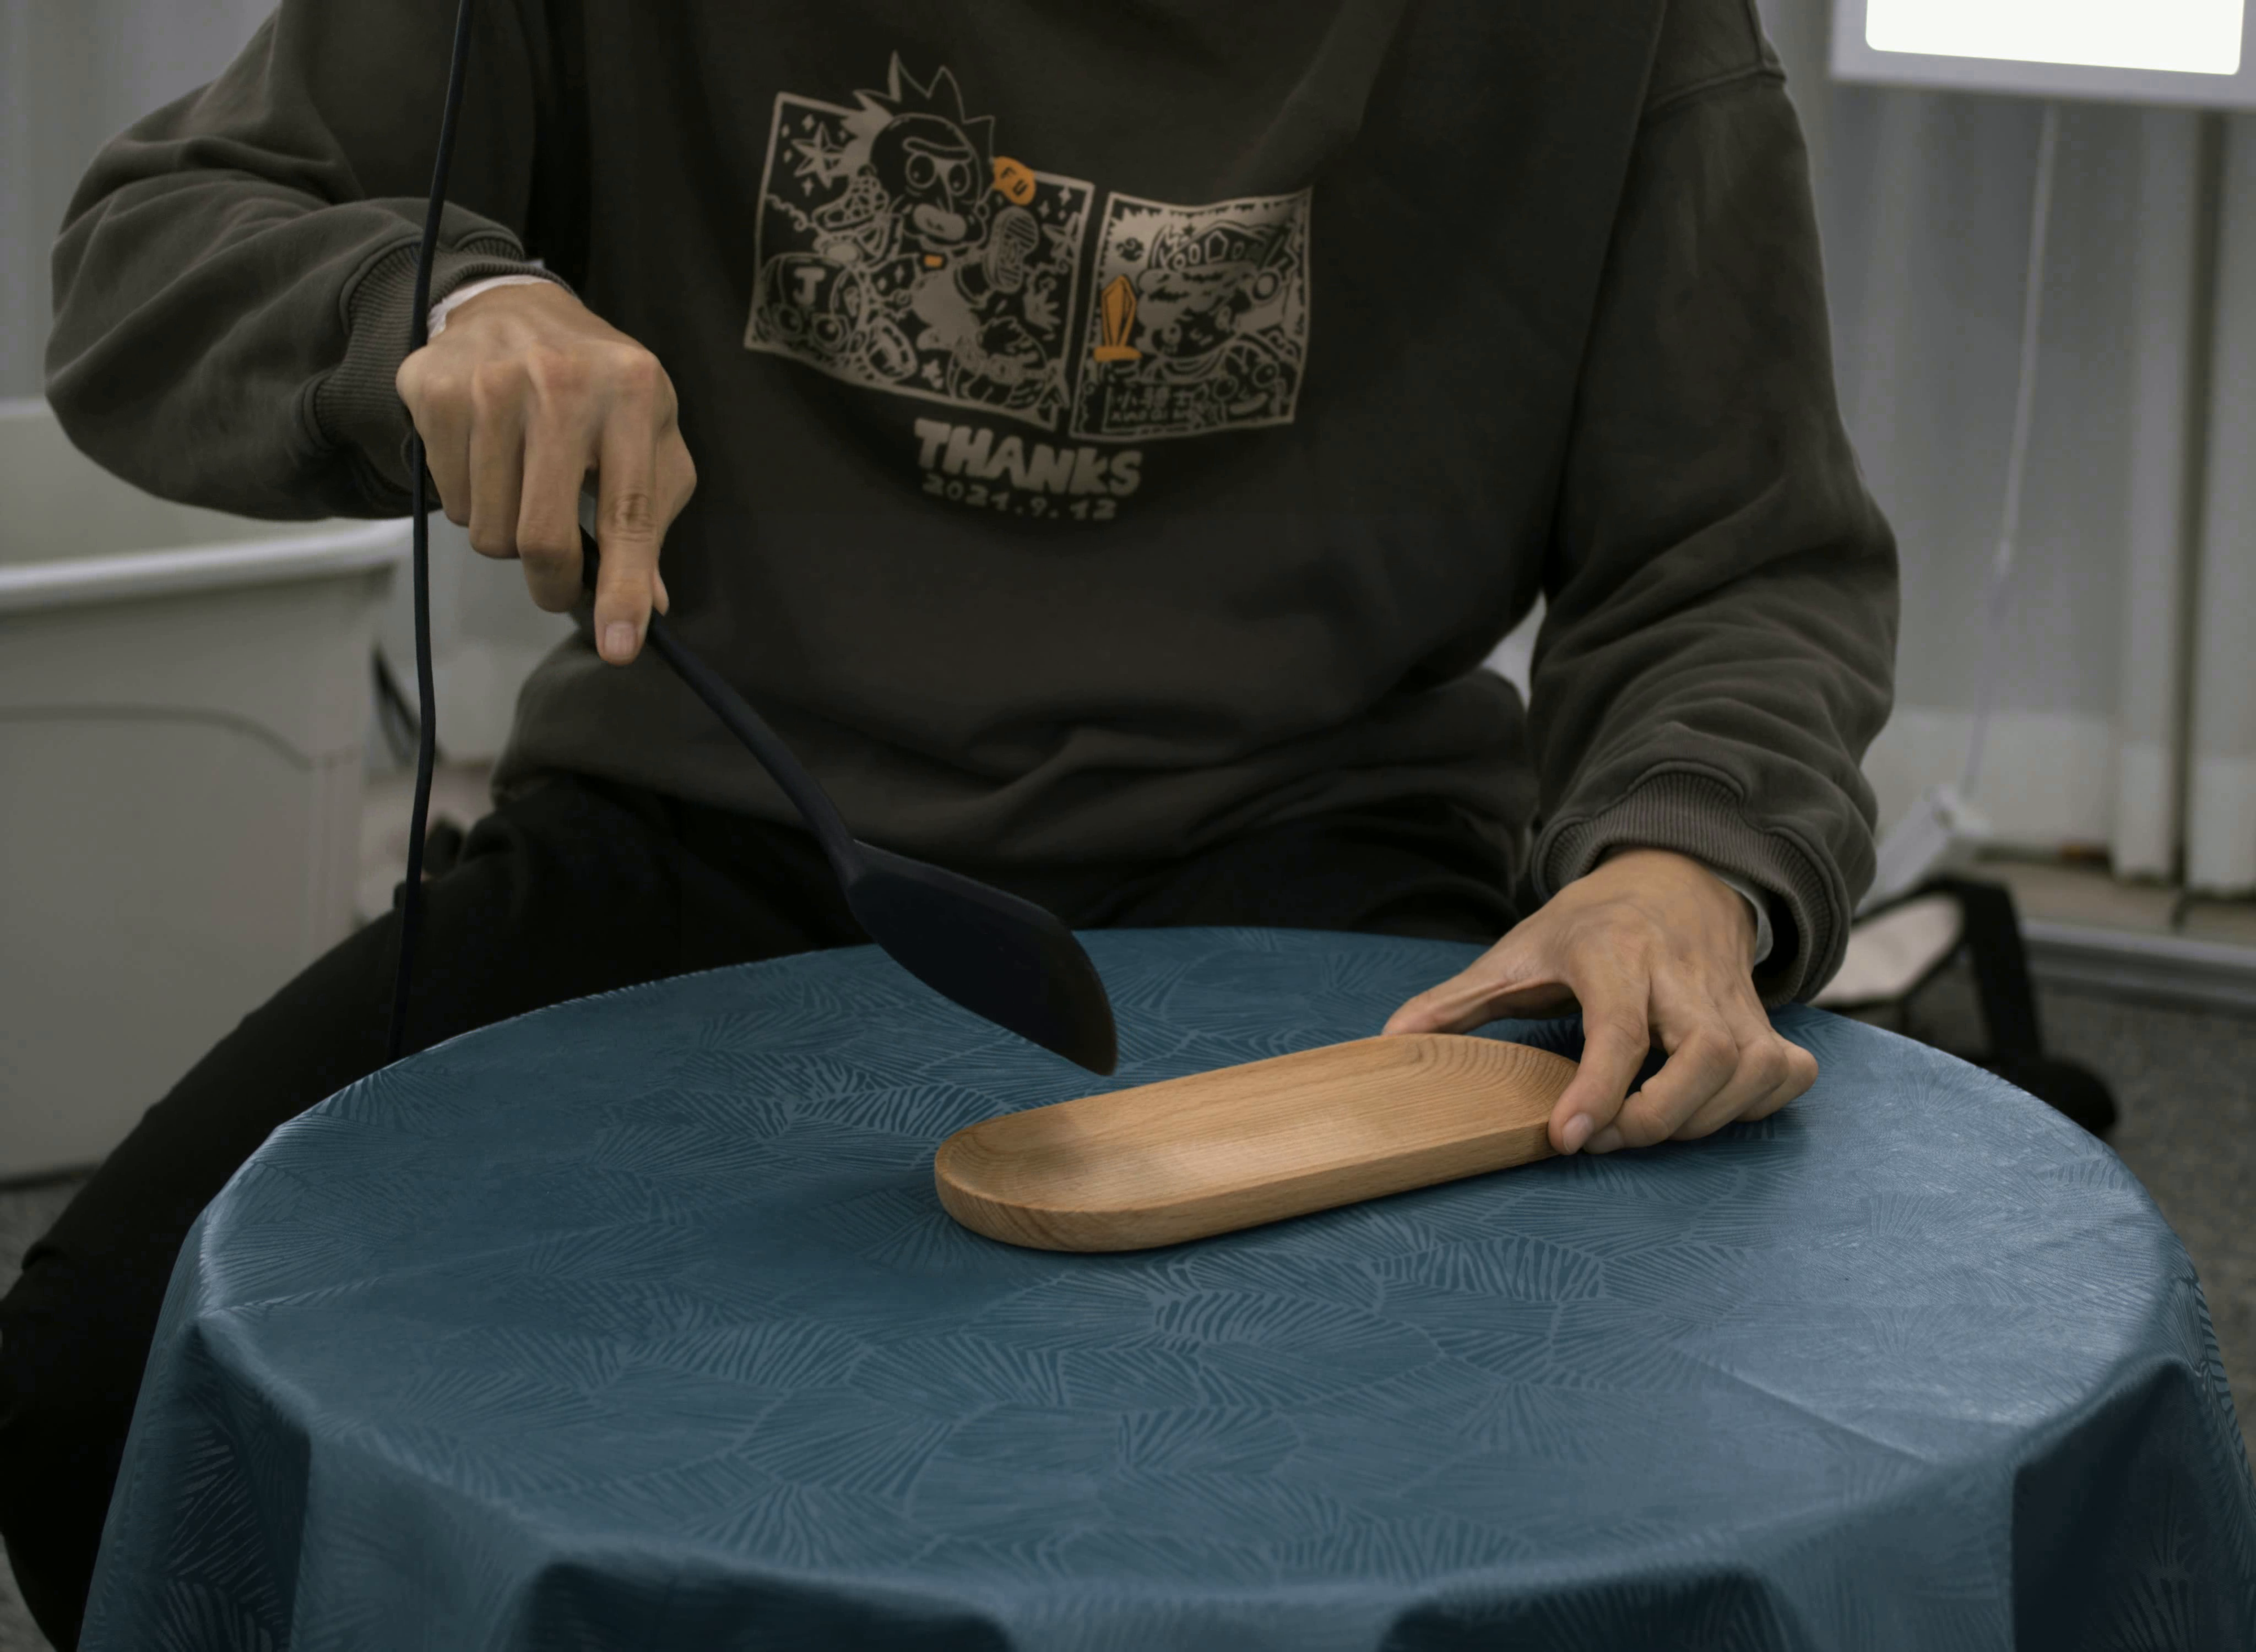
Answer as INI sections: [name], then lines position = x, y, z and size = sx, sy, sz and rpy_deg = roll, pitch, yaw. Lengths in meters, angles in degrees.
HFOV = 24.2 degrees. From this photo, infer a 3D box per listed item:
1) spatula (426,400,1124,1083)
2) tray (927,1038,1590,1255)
[spatula]
position = -0.117, -0.037, 1.656
size = 0.040, 0.101, 0.323
rpy_deg = -36, 66, -14
[tray]
position = 0.043, 0.100, 1.650
size = 0.232, 0.020, 0.100
rpy_deg = -11, 18, -33
